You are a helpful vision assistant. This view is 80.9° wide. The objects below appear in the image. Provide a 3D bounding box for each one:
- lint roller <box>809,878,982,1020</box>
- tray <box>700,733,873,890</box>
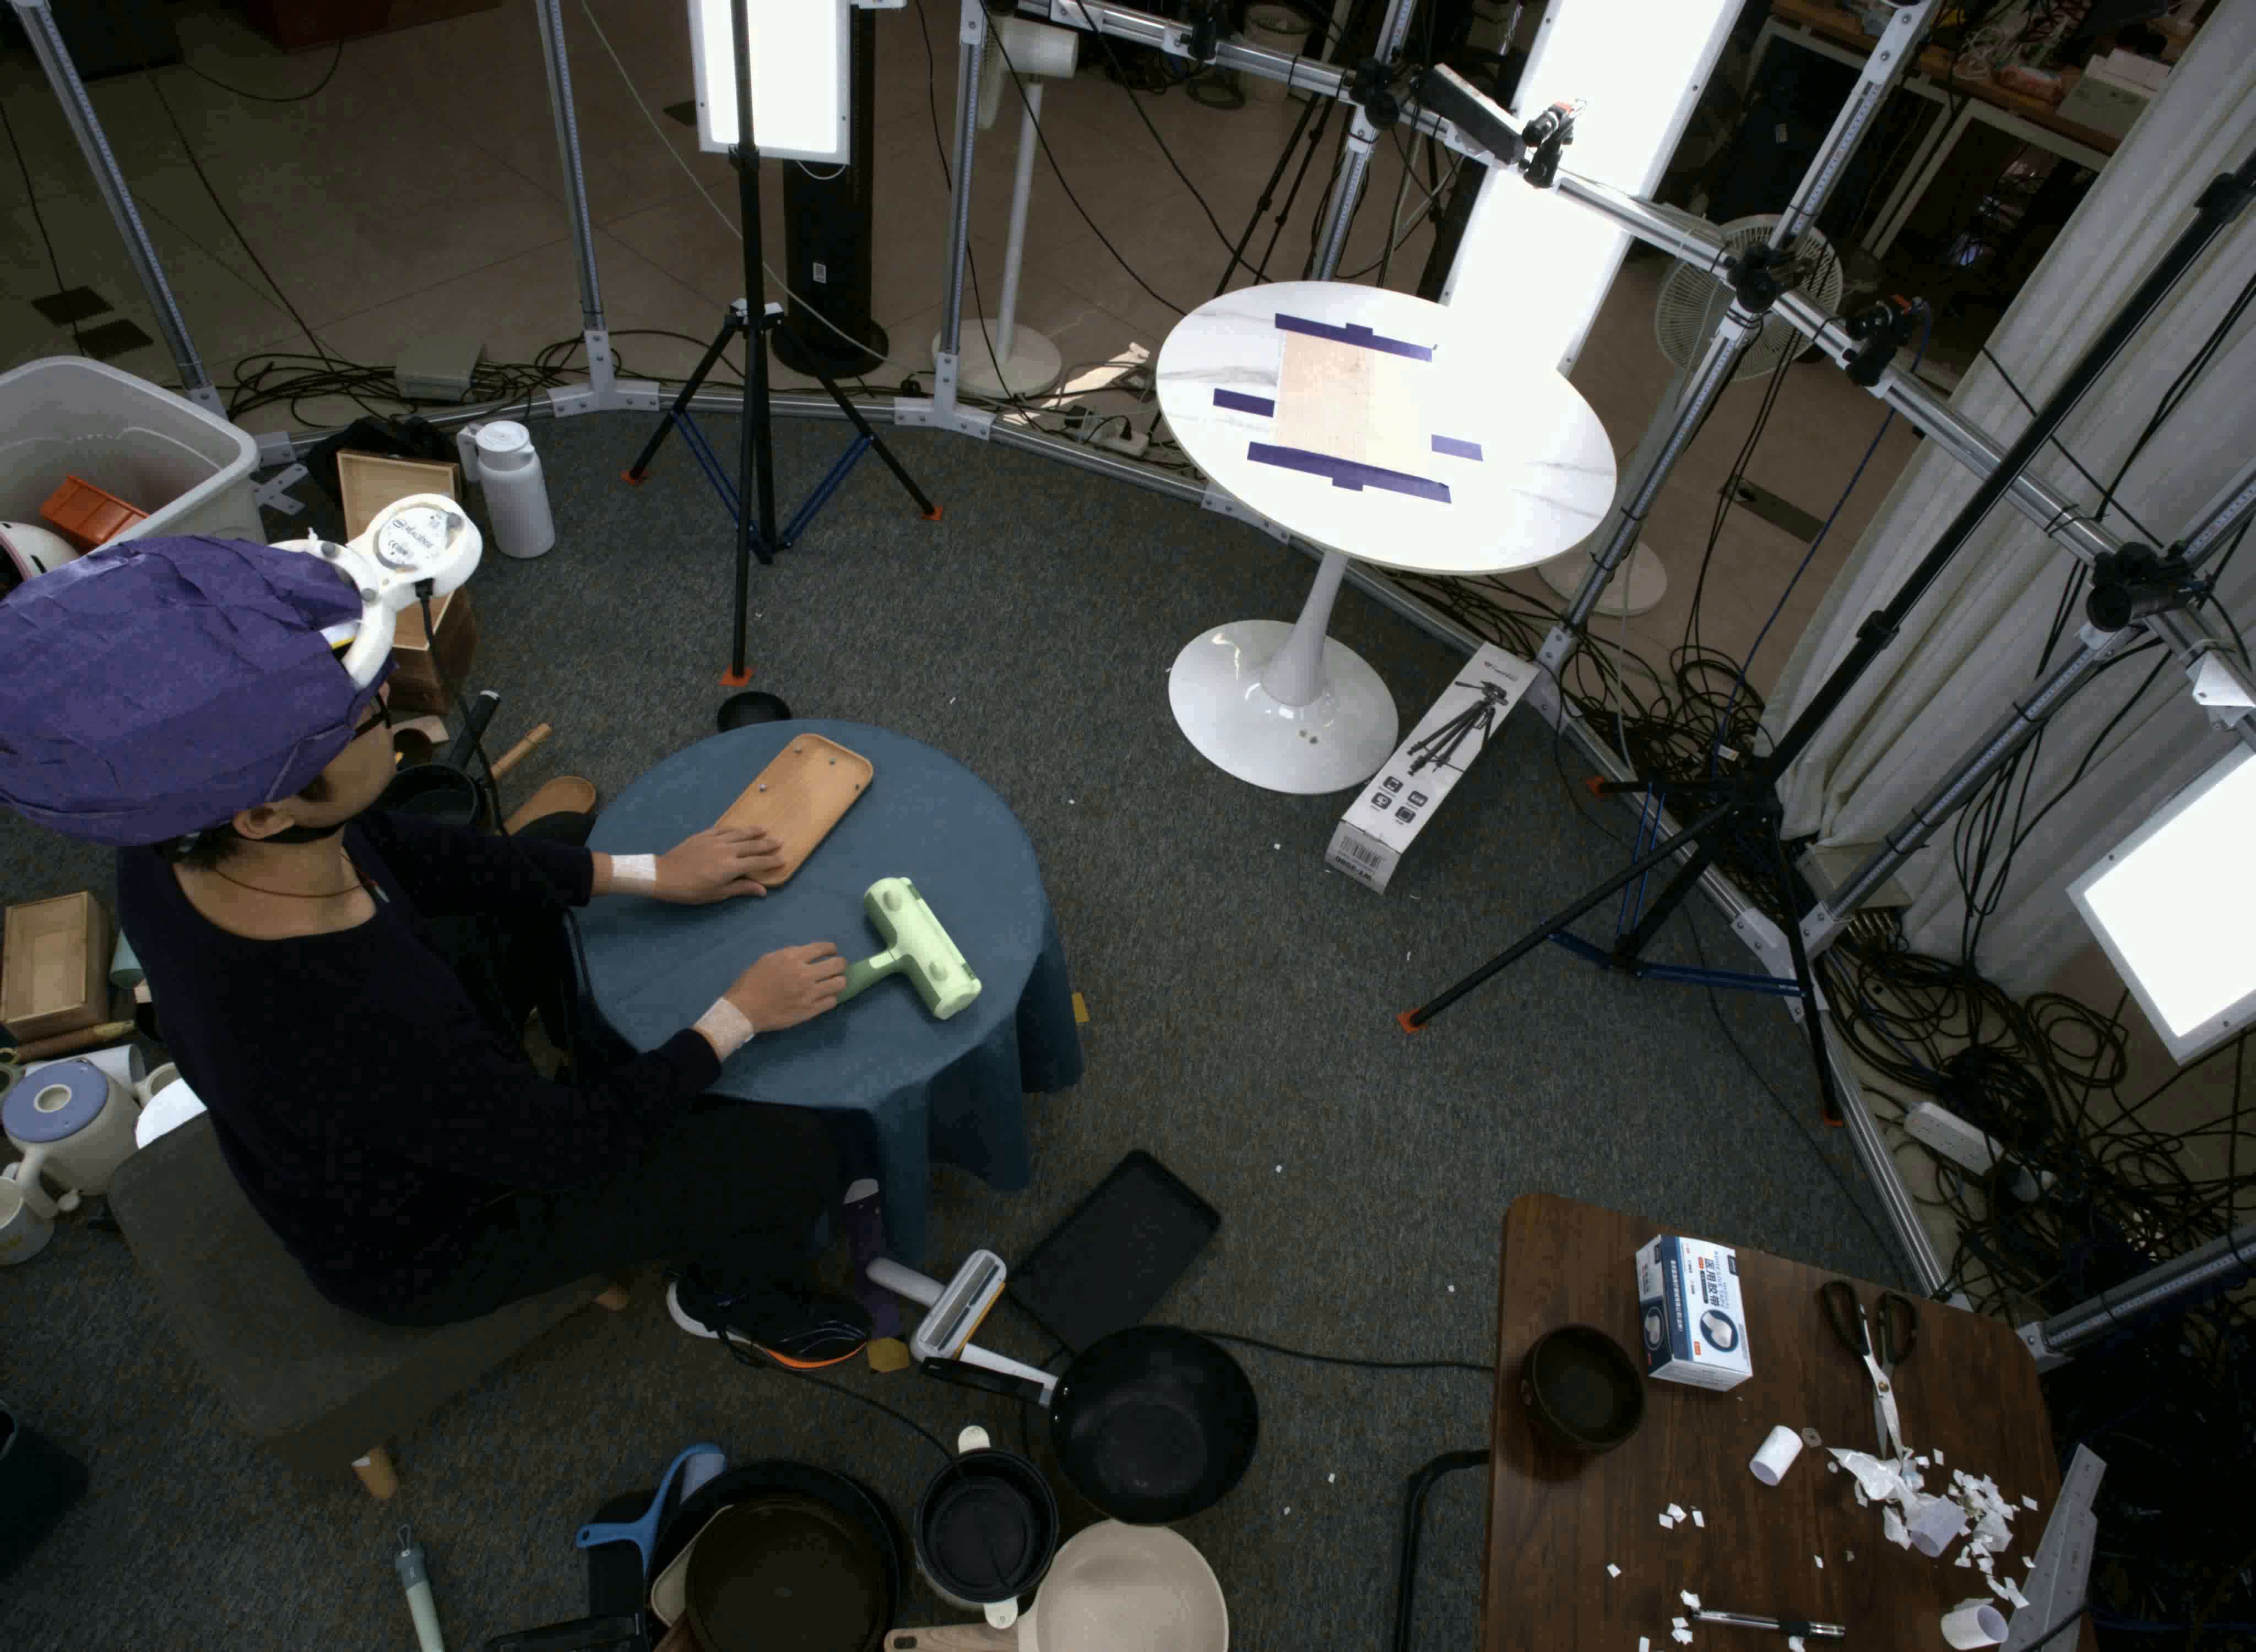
[{"bbox_3d":[-0.301,0.159,1.571,0.185,0.083,0.193,-22,61,-35],"label":"lint roller"},{"bbox_3d":[-0.448,-0.022,1.714,0.128,0.023,0.249,26,52,8],"label":"tray"}]
